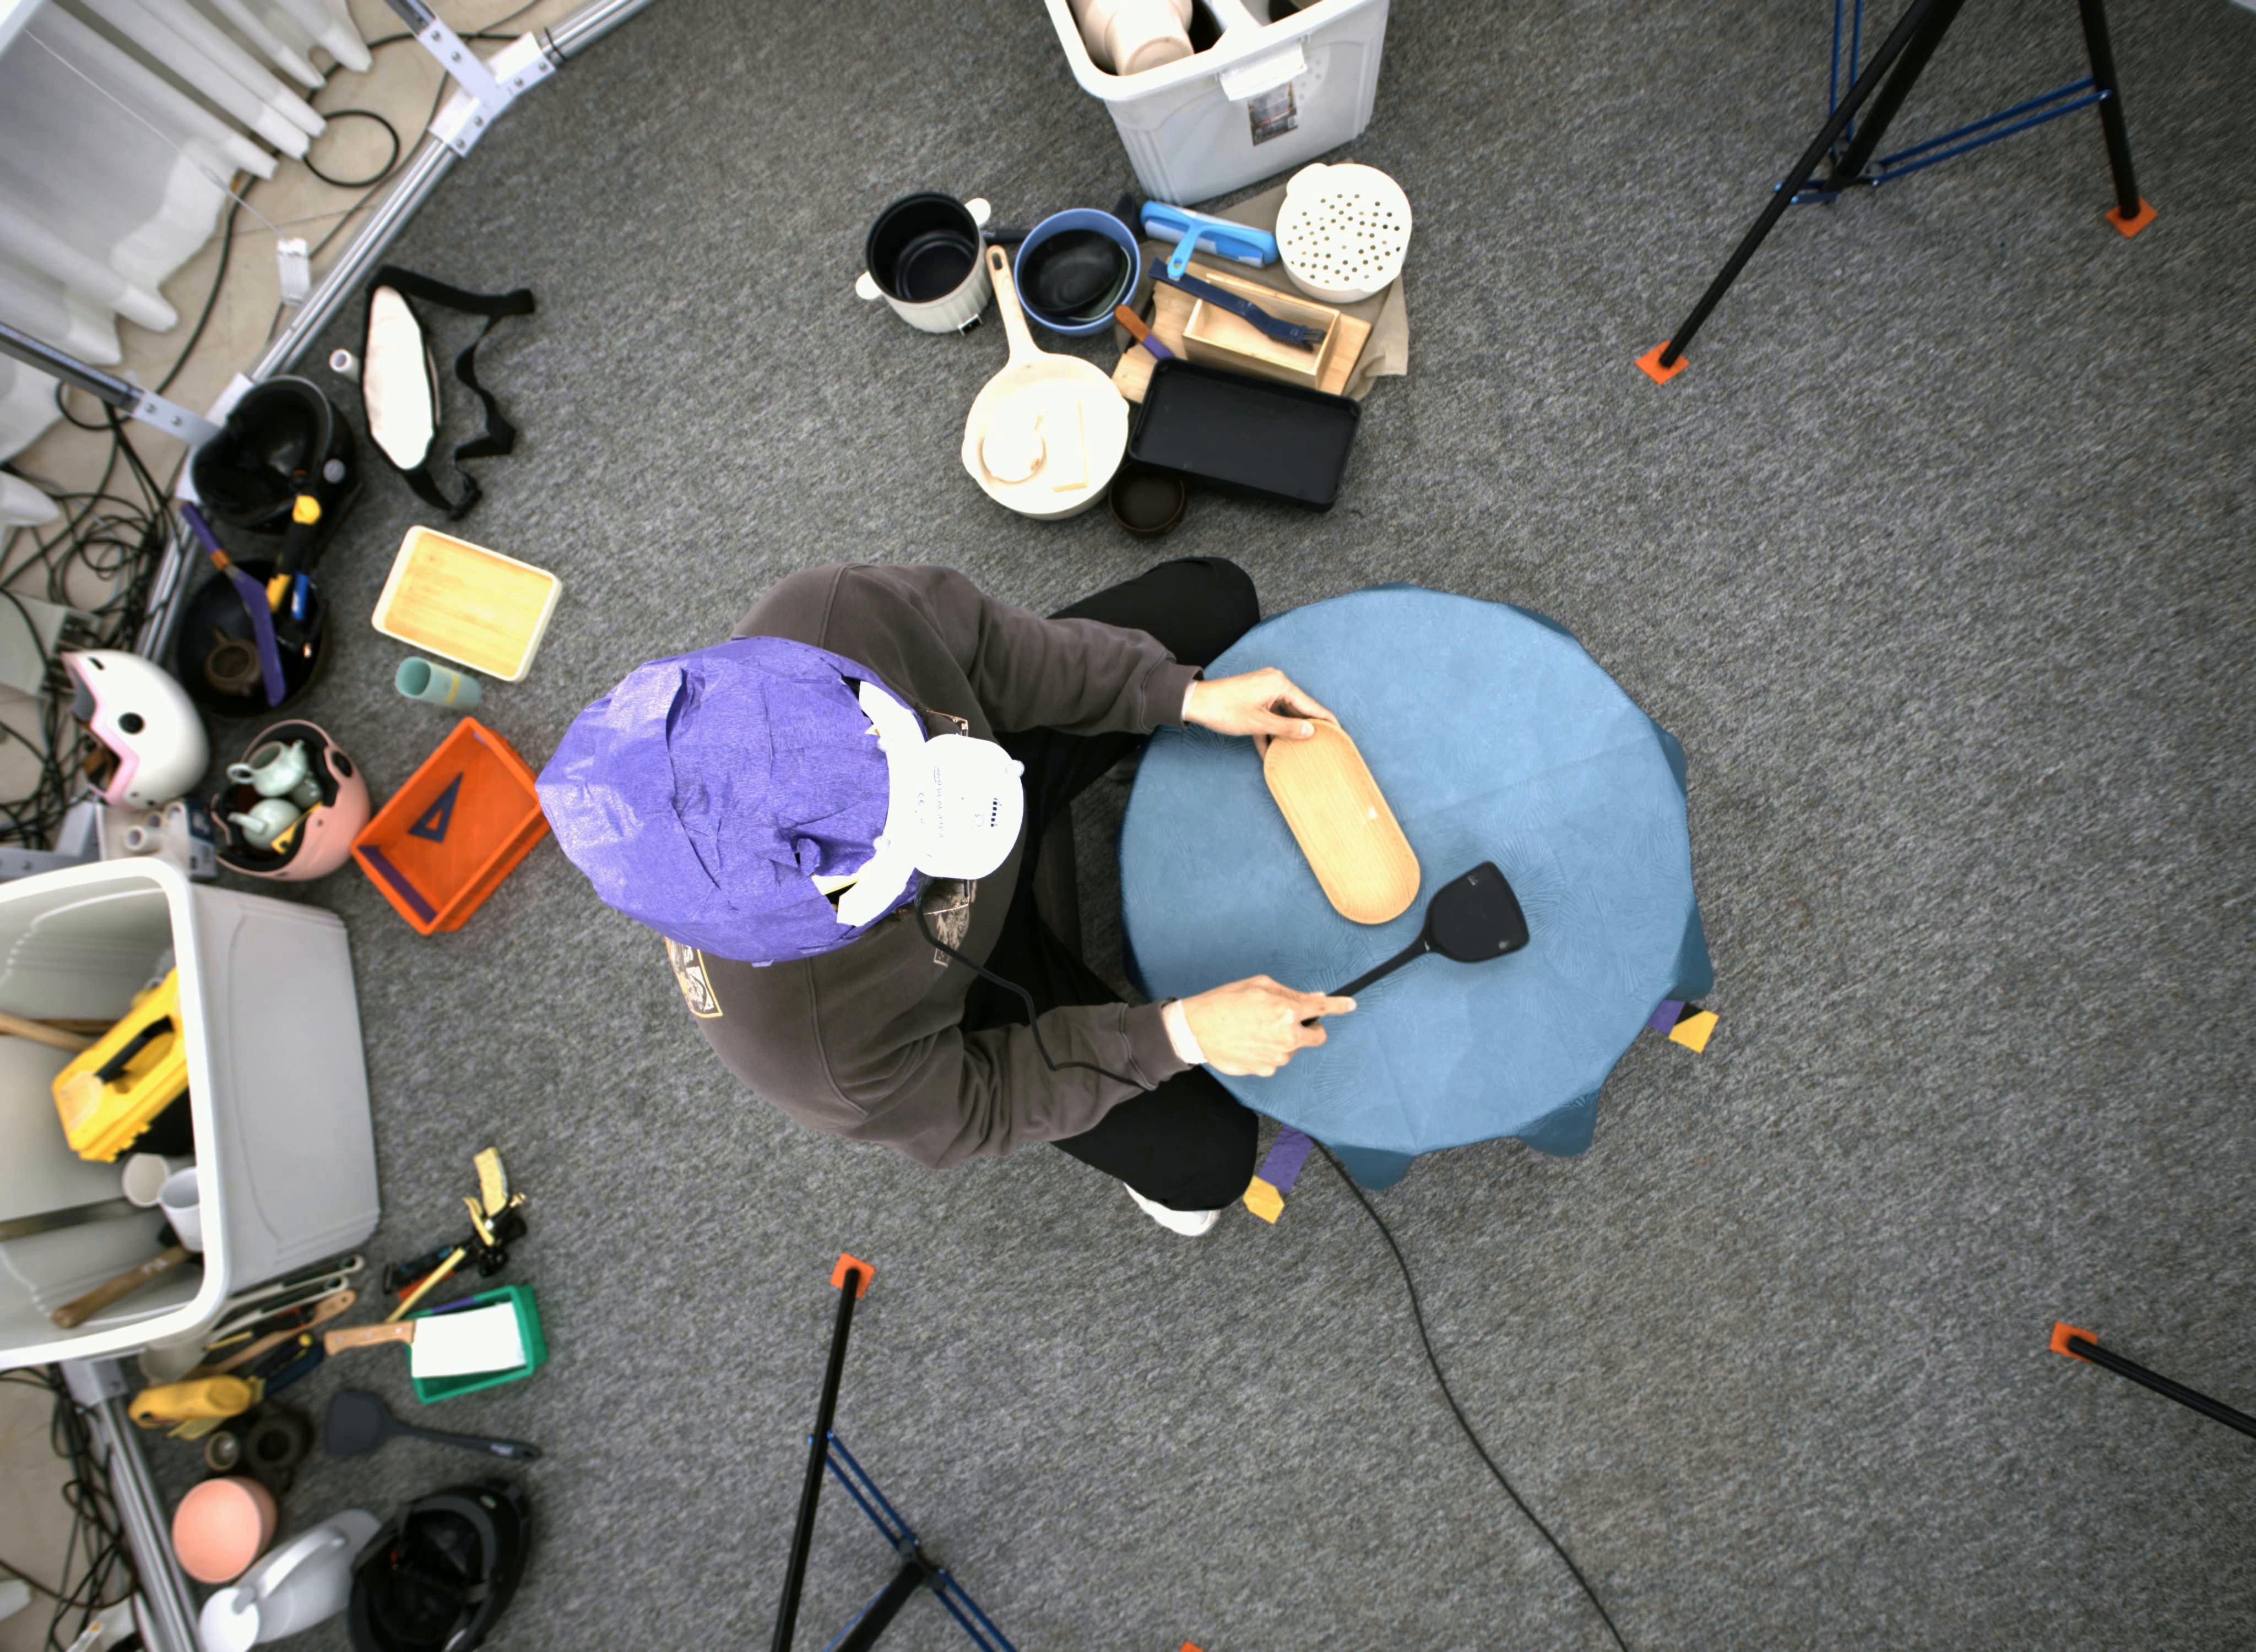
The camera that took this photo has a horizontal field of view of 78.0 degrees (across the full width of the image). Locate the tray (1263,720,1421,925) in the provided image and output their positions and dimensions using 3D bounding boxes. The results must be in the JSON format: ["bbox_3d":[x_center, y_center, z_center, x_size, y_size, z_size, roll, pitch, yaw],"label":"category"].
[{"bbox_3d":[0.225,-0.005,1.453,0.102,0.020,0.231,-29,88,11],"label":"tray"}]

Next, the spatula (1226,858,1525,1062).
[{"bbox_3d":[0.238,0.145,1.353,0.324,0.040,0.100,-30,99,-9],"label":"spatula"}]
